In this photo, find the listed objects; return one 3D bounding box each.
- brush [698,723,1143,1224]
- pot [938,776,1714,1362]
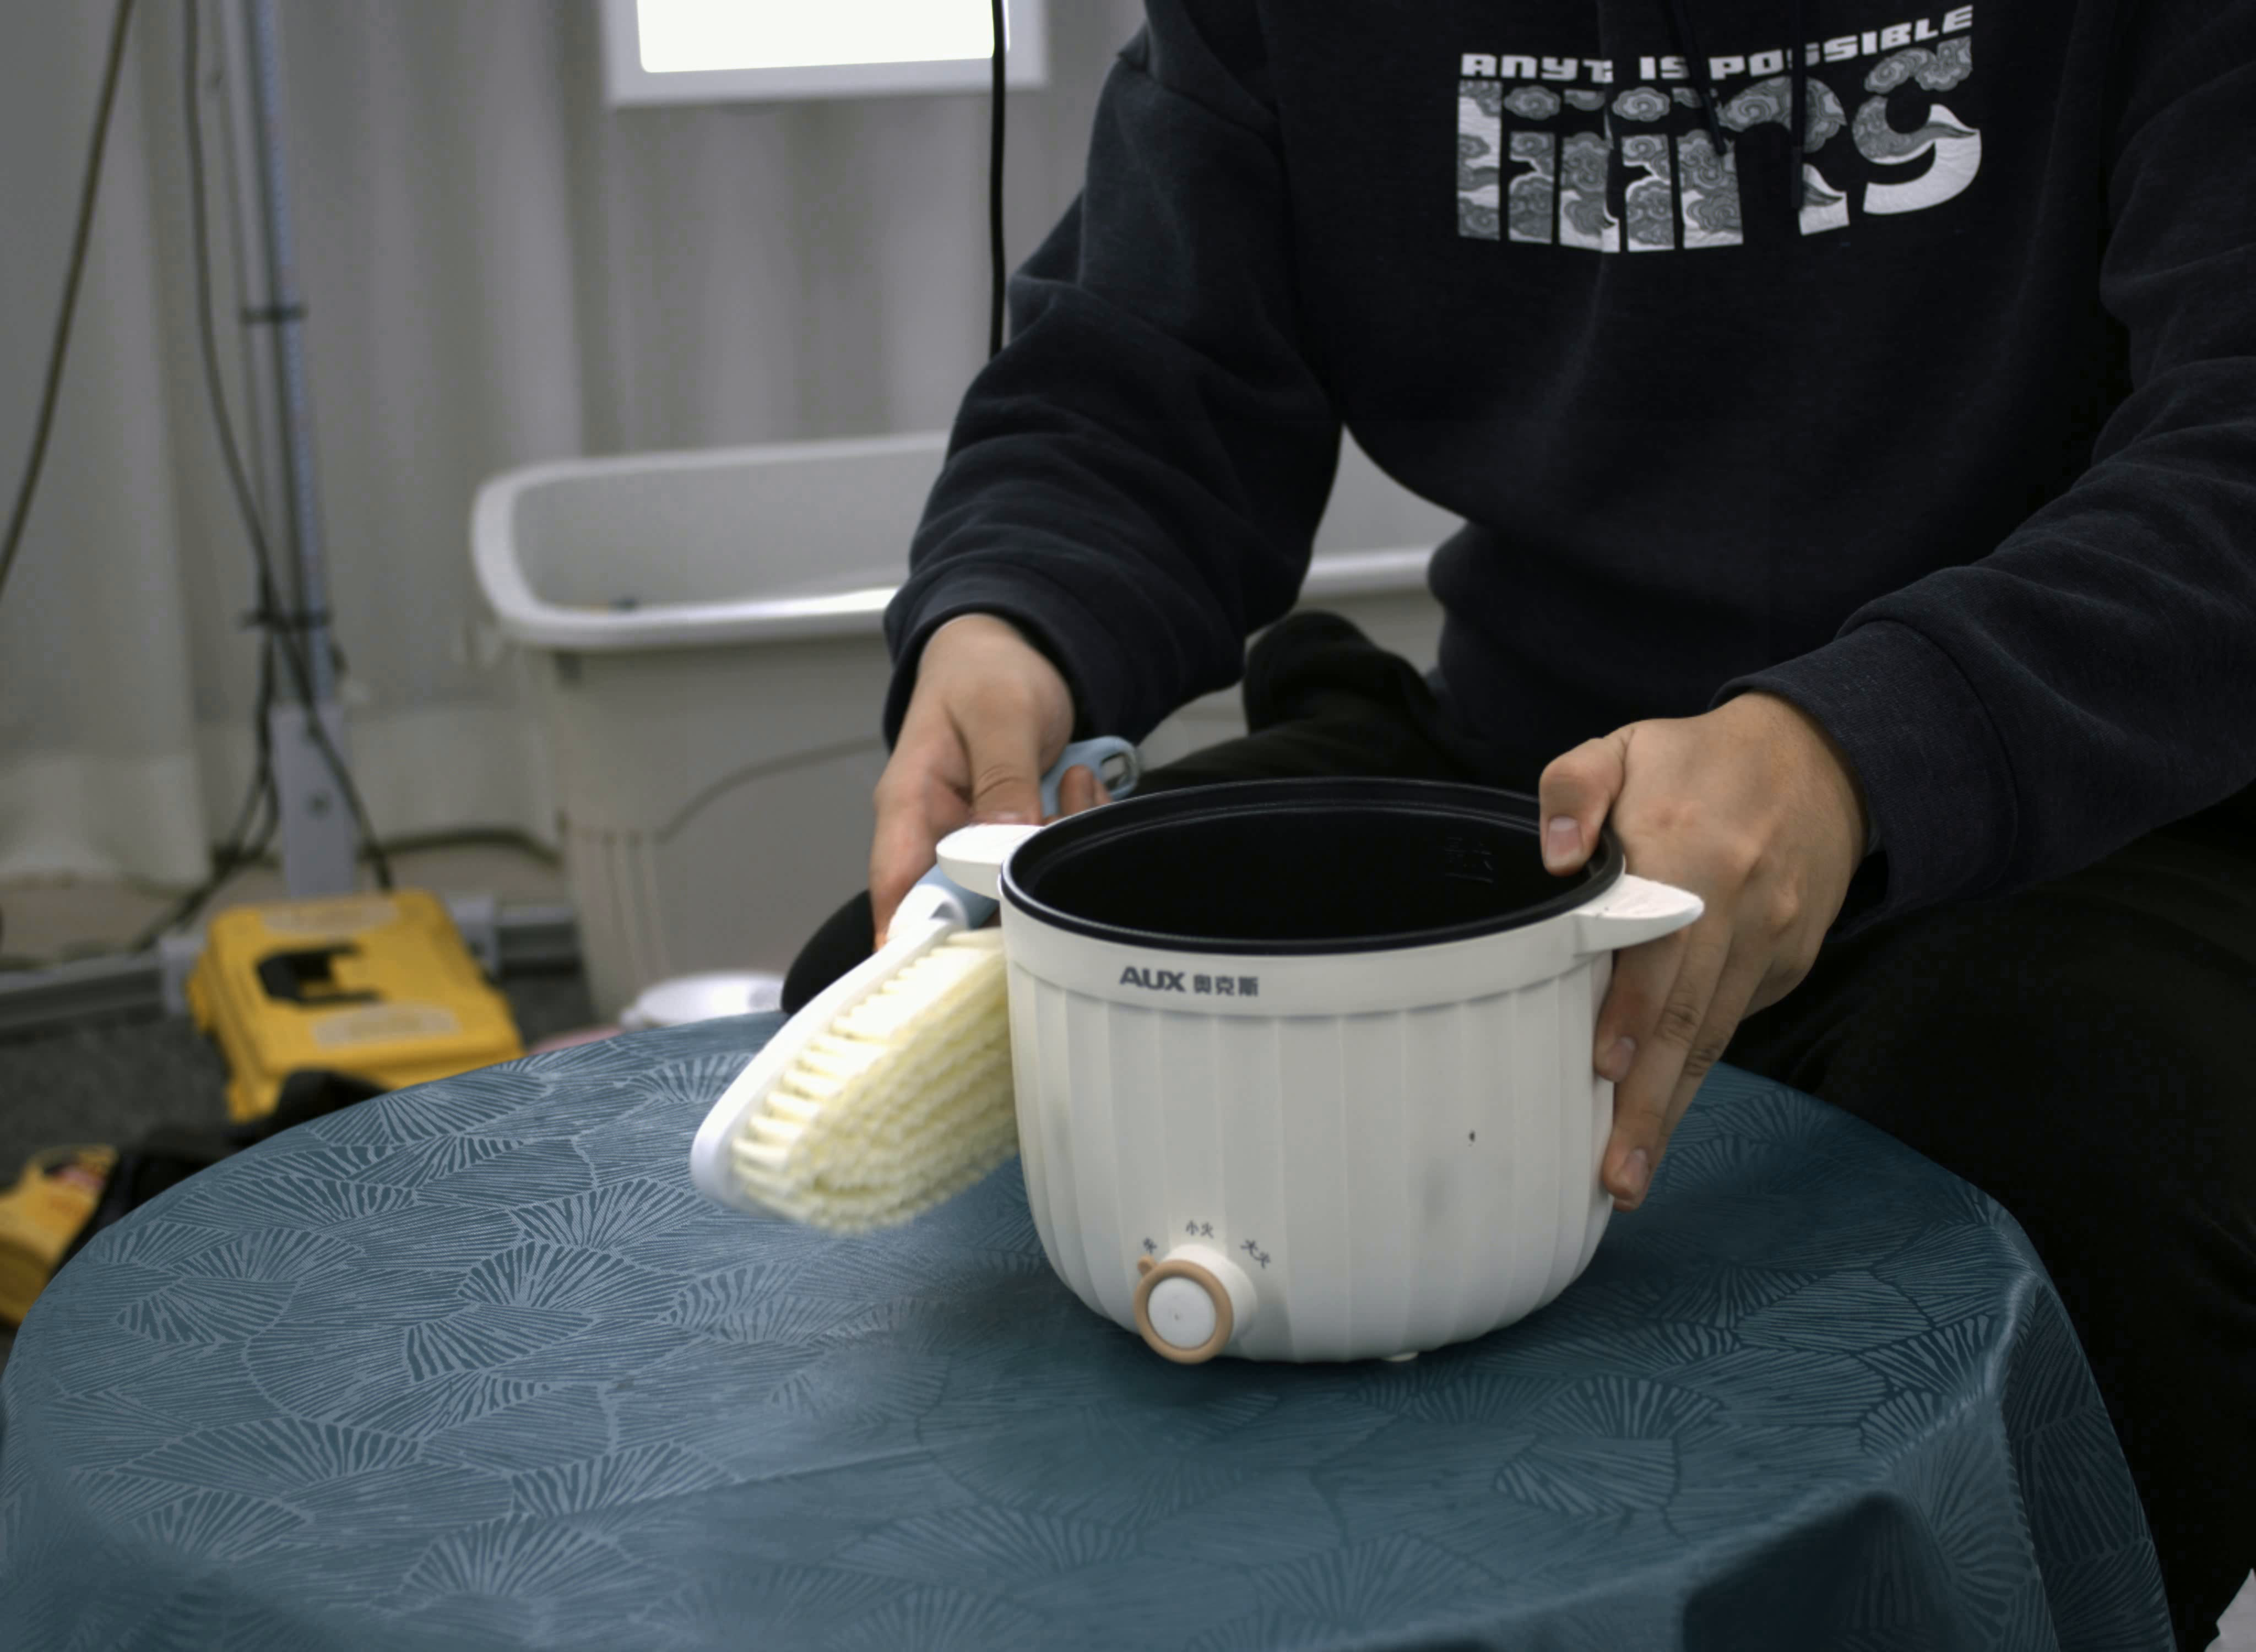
[{"bbox_3d":[-0.032,0.033,1.696,0.084,0.082,0.327,36,31,5],"label":"brush"},{"bbox_3d":[0.055,0.074,1.594,0.241,0.142,0.190,3,13,25],"label":"pot"}]
